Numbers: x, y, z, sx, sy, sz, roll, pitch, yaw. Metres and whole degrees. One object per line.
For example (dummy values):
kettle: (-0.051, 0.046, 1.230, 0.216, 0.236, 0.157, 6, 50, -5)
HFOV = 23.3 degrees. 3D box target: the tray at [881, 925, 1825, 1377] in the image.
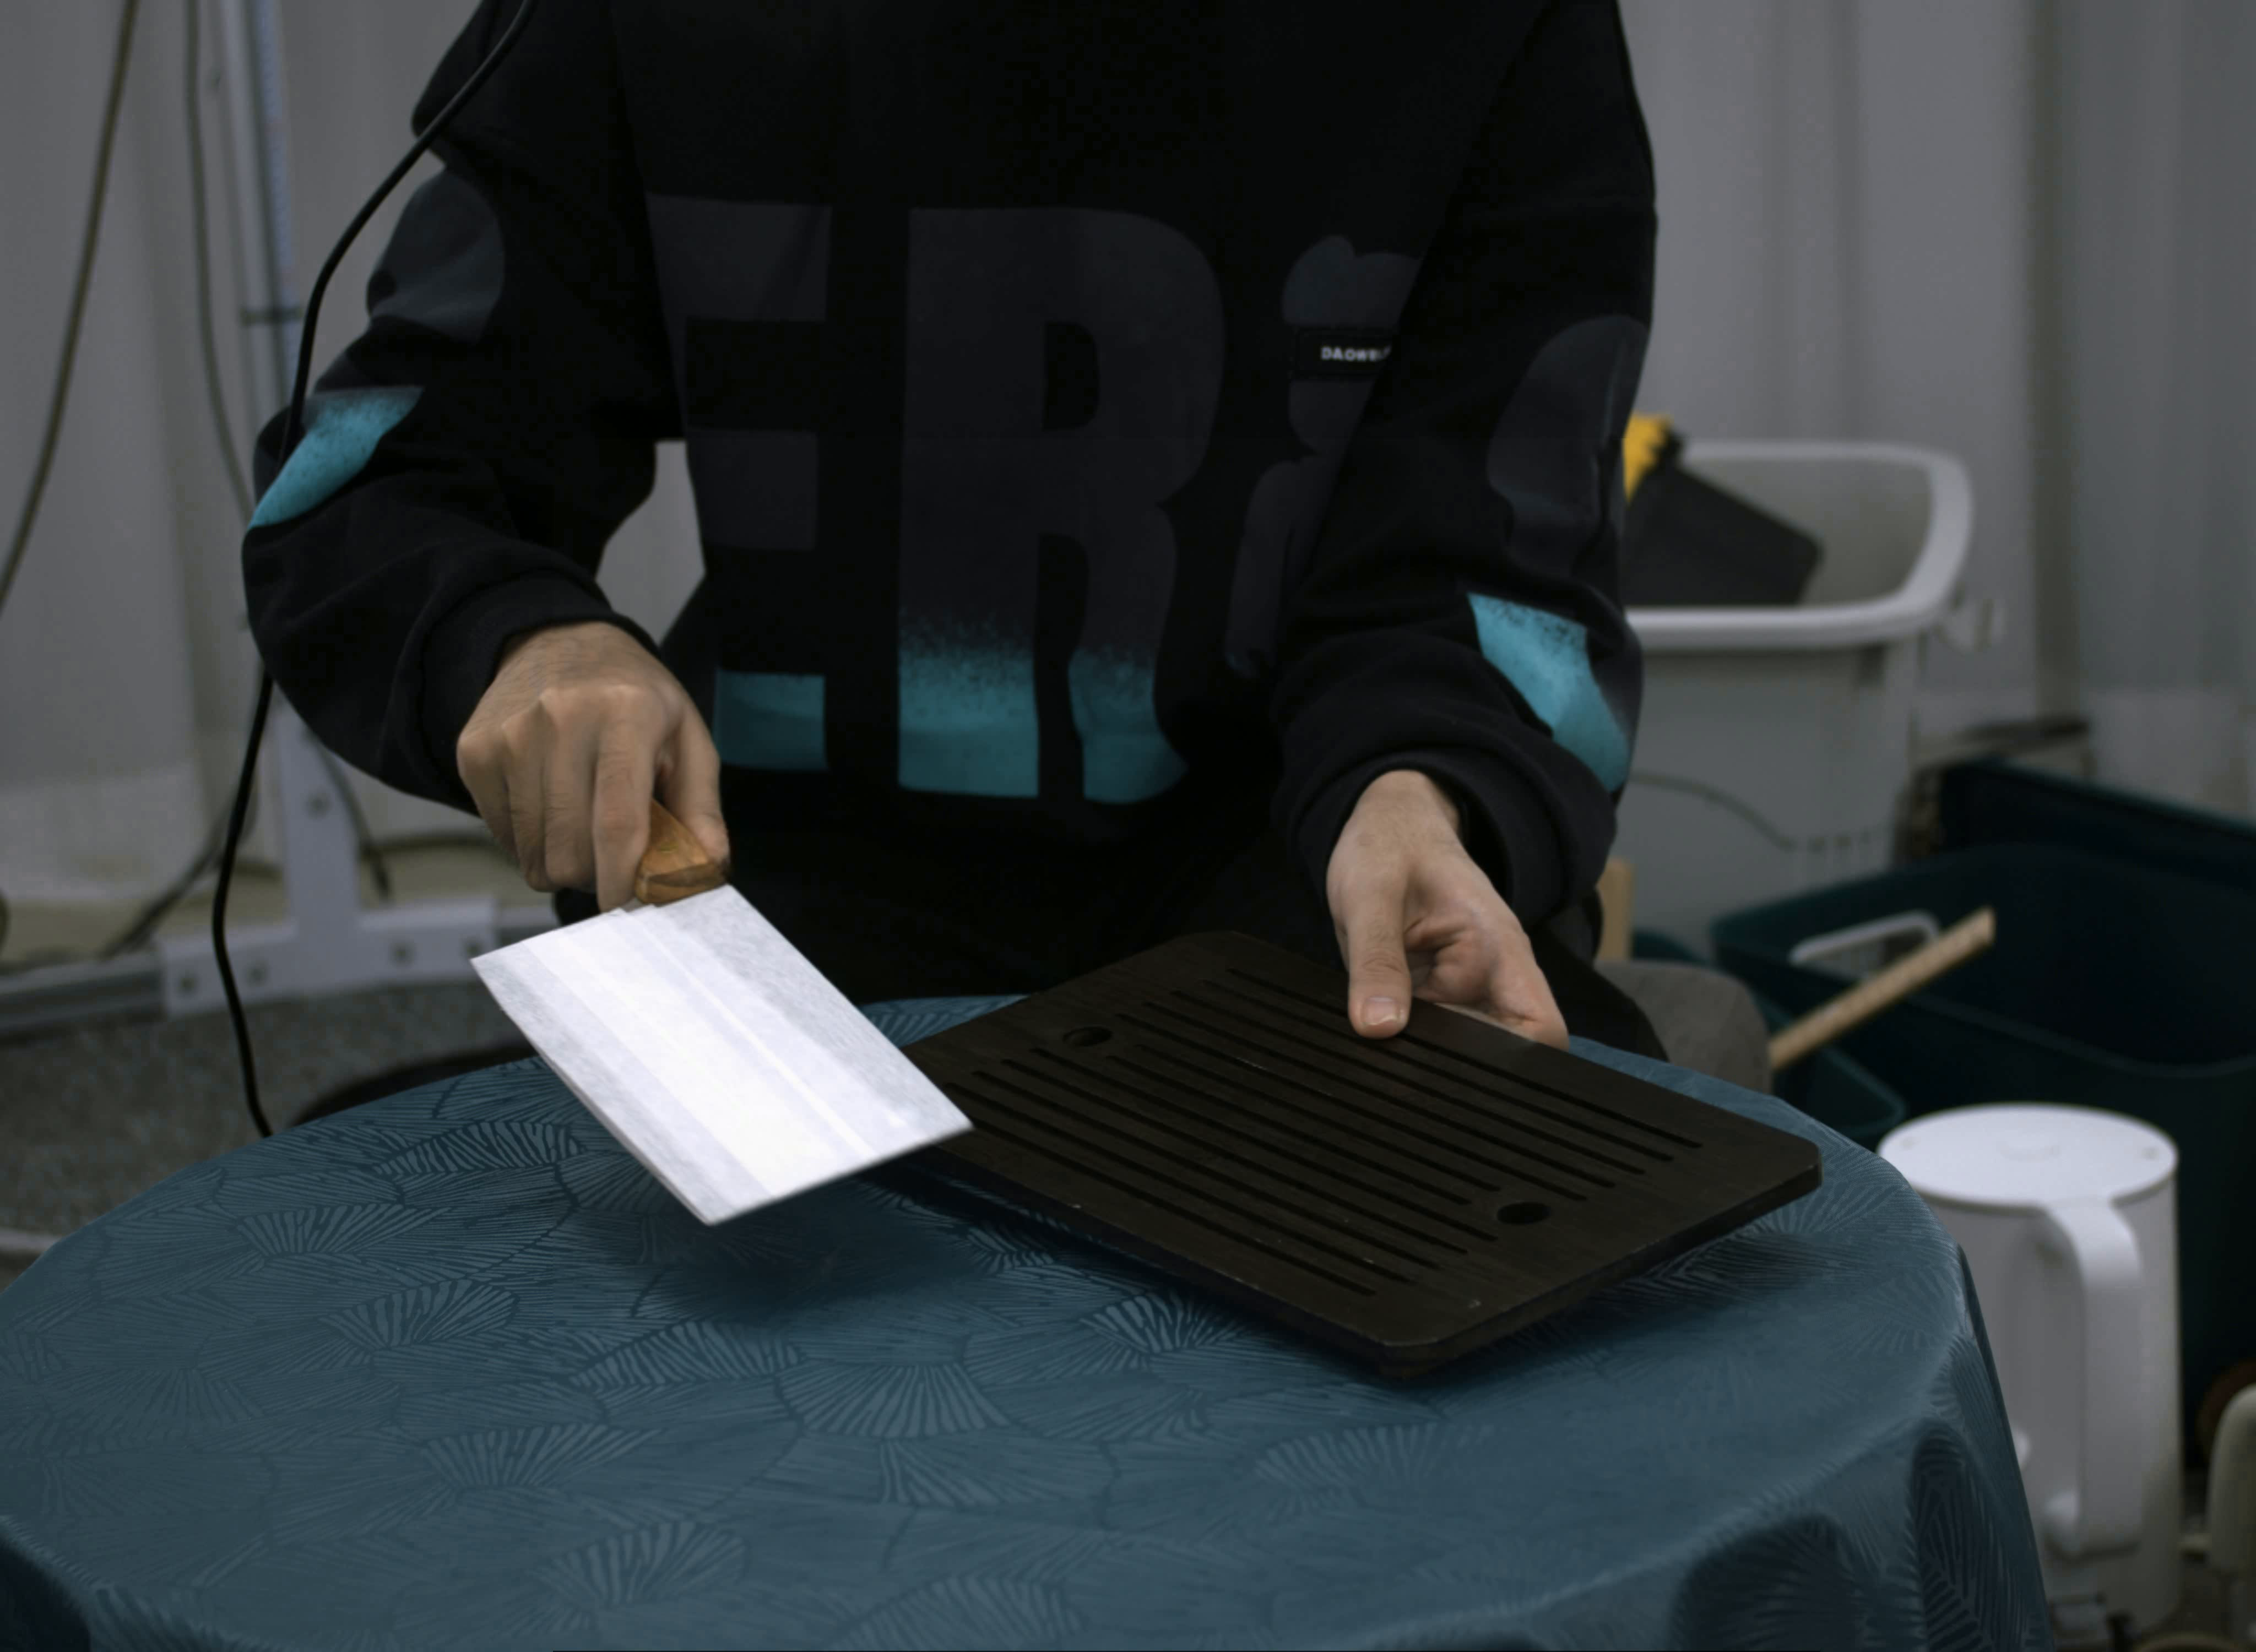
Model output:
tray: (0.055, 0.096, 1.689, 0.170, 0.018, 0.308, -21, 24, -32)

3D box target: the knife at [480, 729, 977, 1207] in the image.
knife: (-0.152, 0.044, 1.748, 0.093, 0.021, 0.309, -19, 32, -21)
